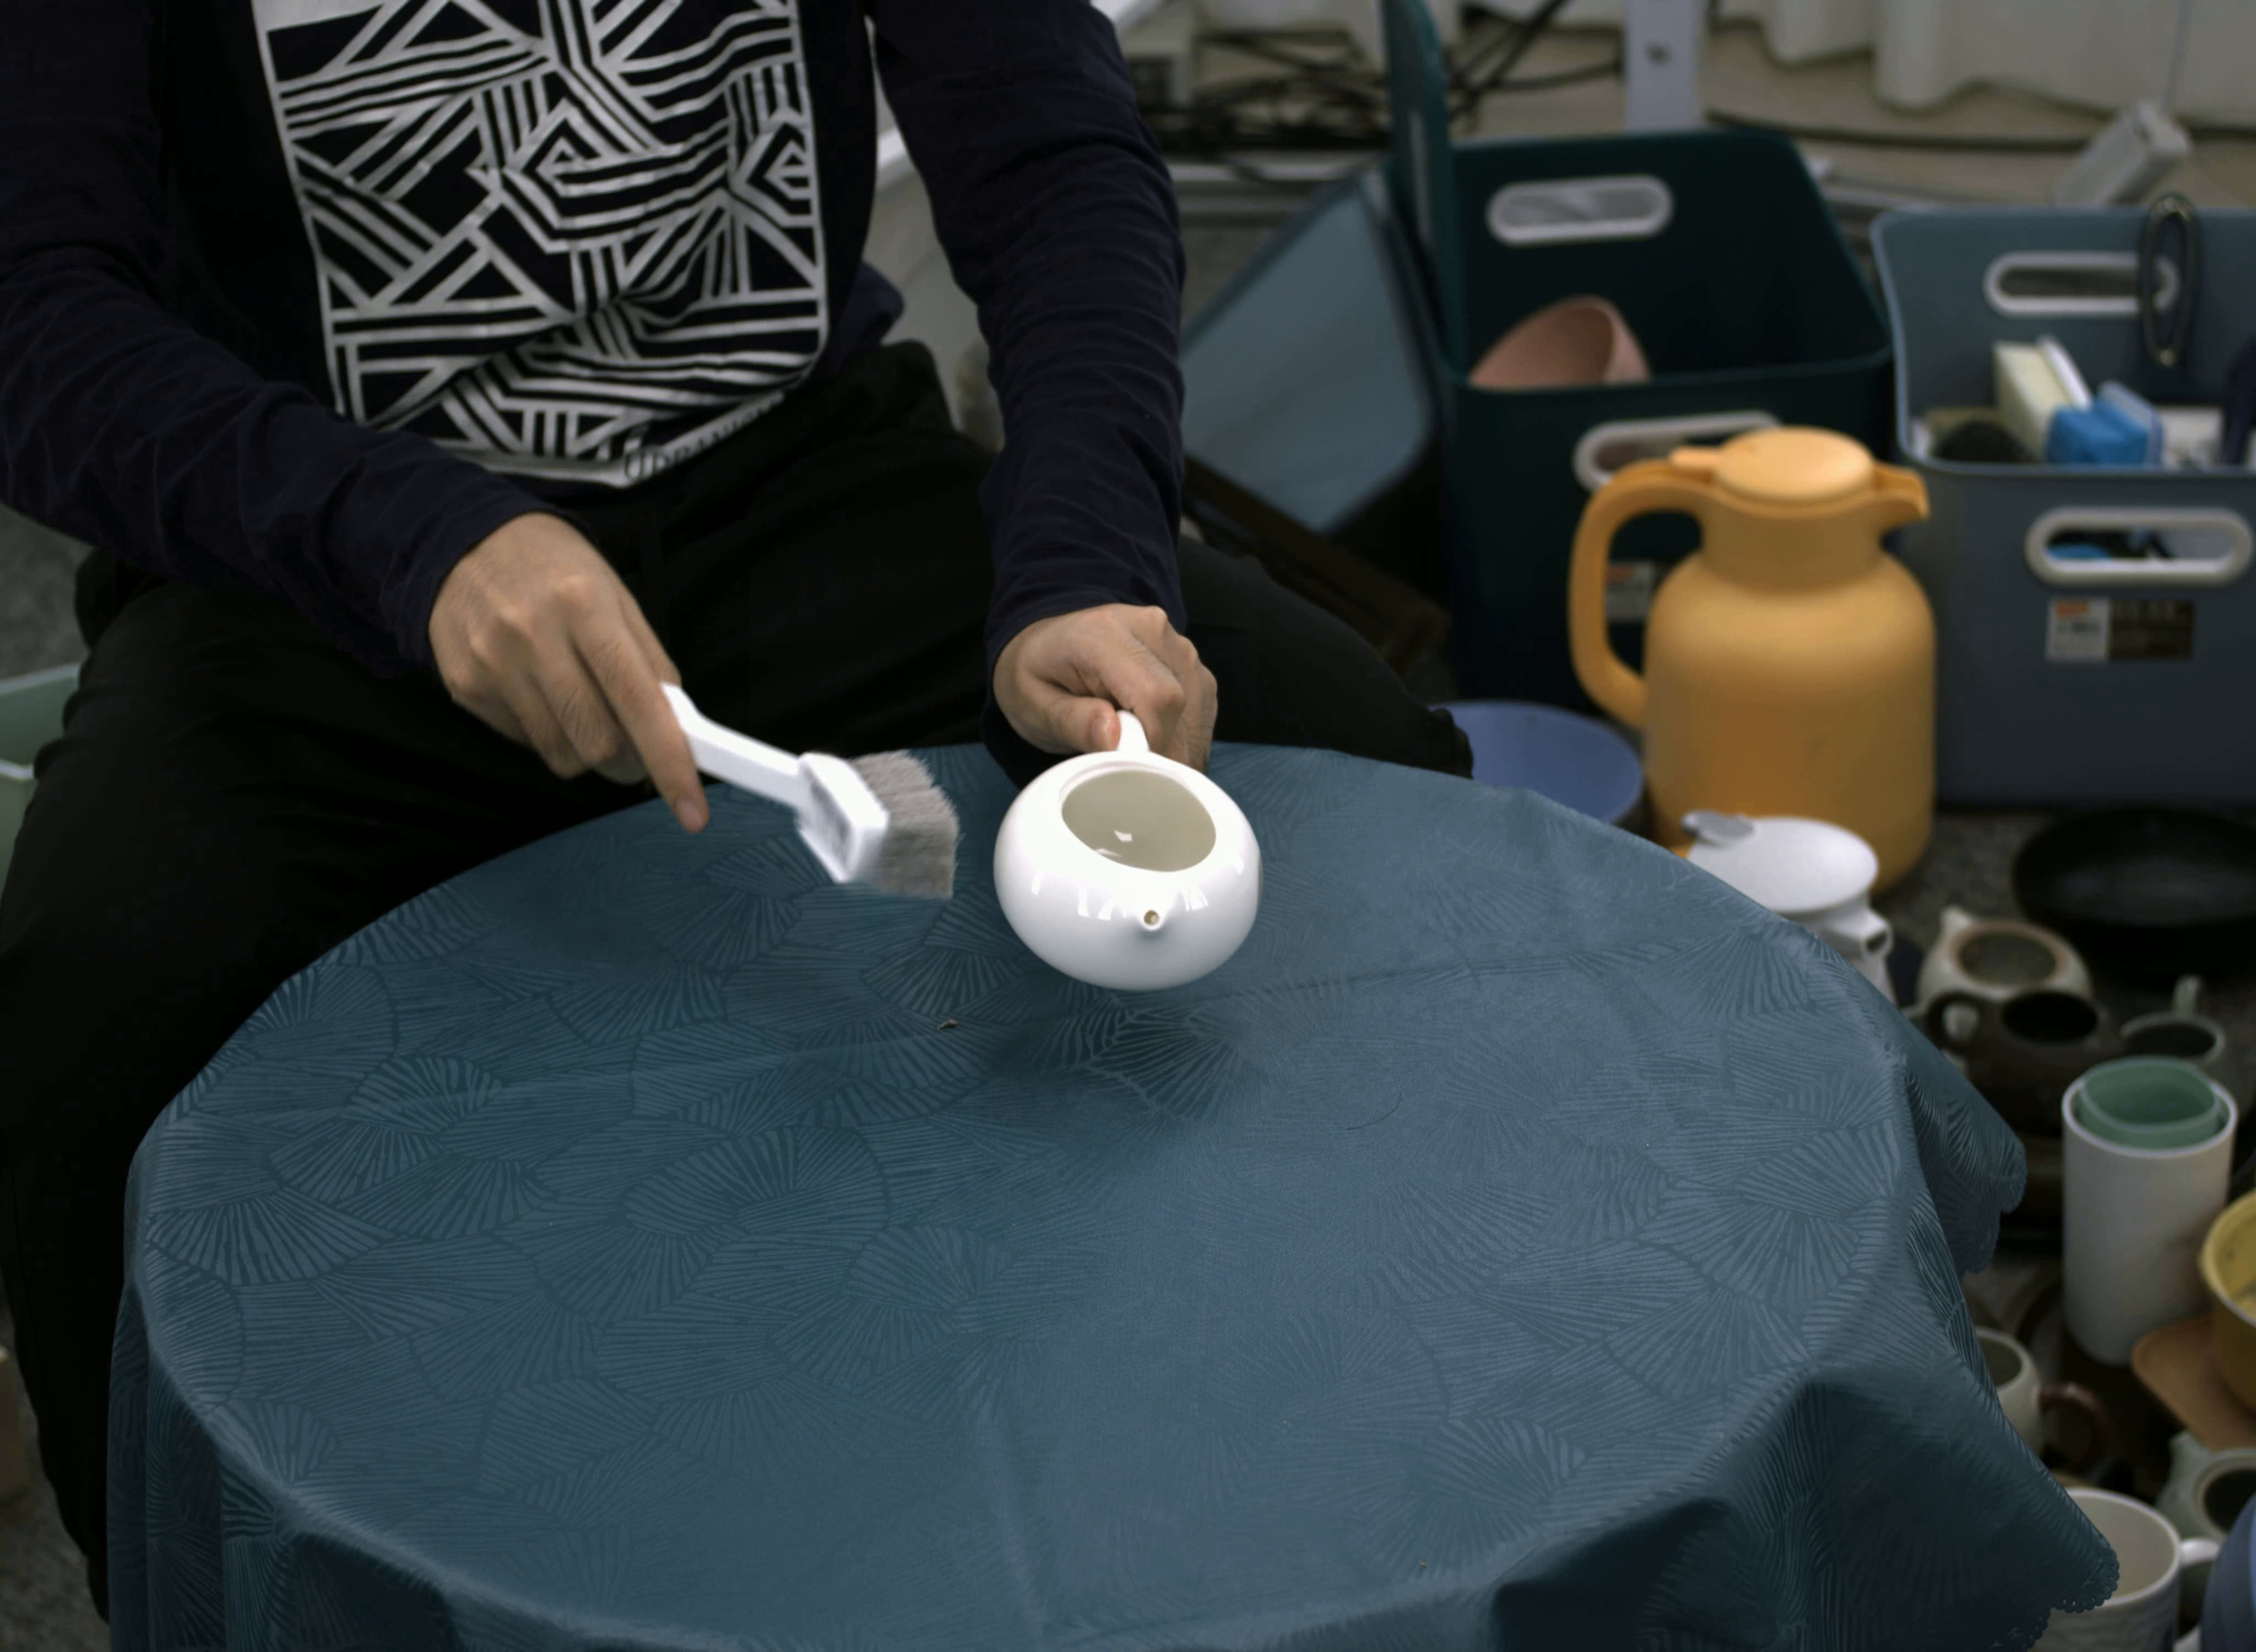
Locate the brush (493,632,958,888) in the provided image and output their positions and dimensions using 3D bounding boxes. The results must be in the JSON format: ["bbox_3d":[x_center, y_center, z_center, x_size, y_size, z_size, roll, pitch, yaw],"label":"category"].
[{"bbox_3d":[-0.141,-0.029,1.985,0.050,0.034,0.243,-13,26,-37],"label":"brush"}]

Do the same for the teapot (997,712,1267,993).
[{"bbox_3d":[0.000,0.009,1.934,0.093,0.056,0.129,1,39,-11],"label":"teapot"}]
